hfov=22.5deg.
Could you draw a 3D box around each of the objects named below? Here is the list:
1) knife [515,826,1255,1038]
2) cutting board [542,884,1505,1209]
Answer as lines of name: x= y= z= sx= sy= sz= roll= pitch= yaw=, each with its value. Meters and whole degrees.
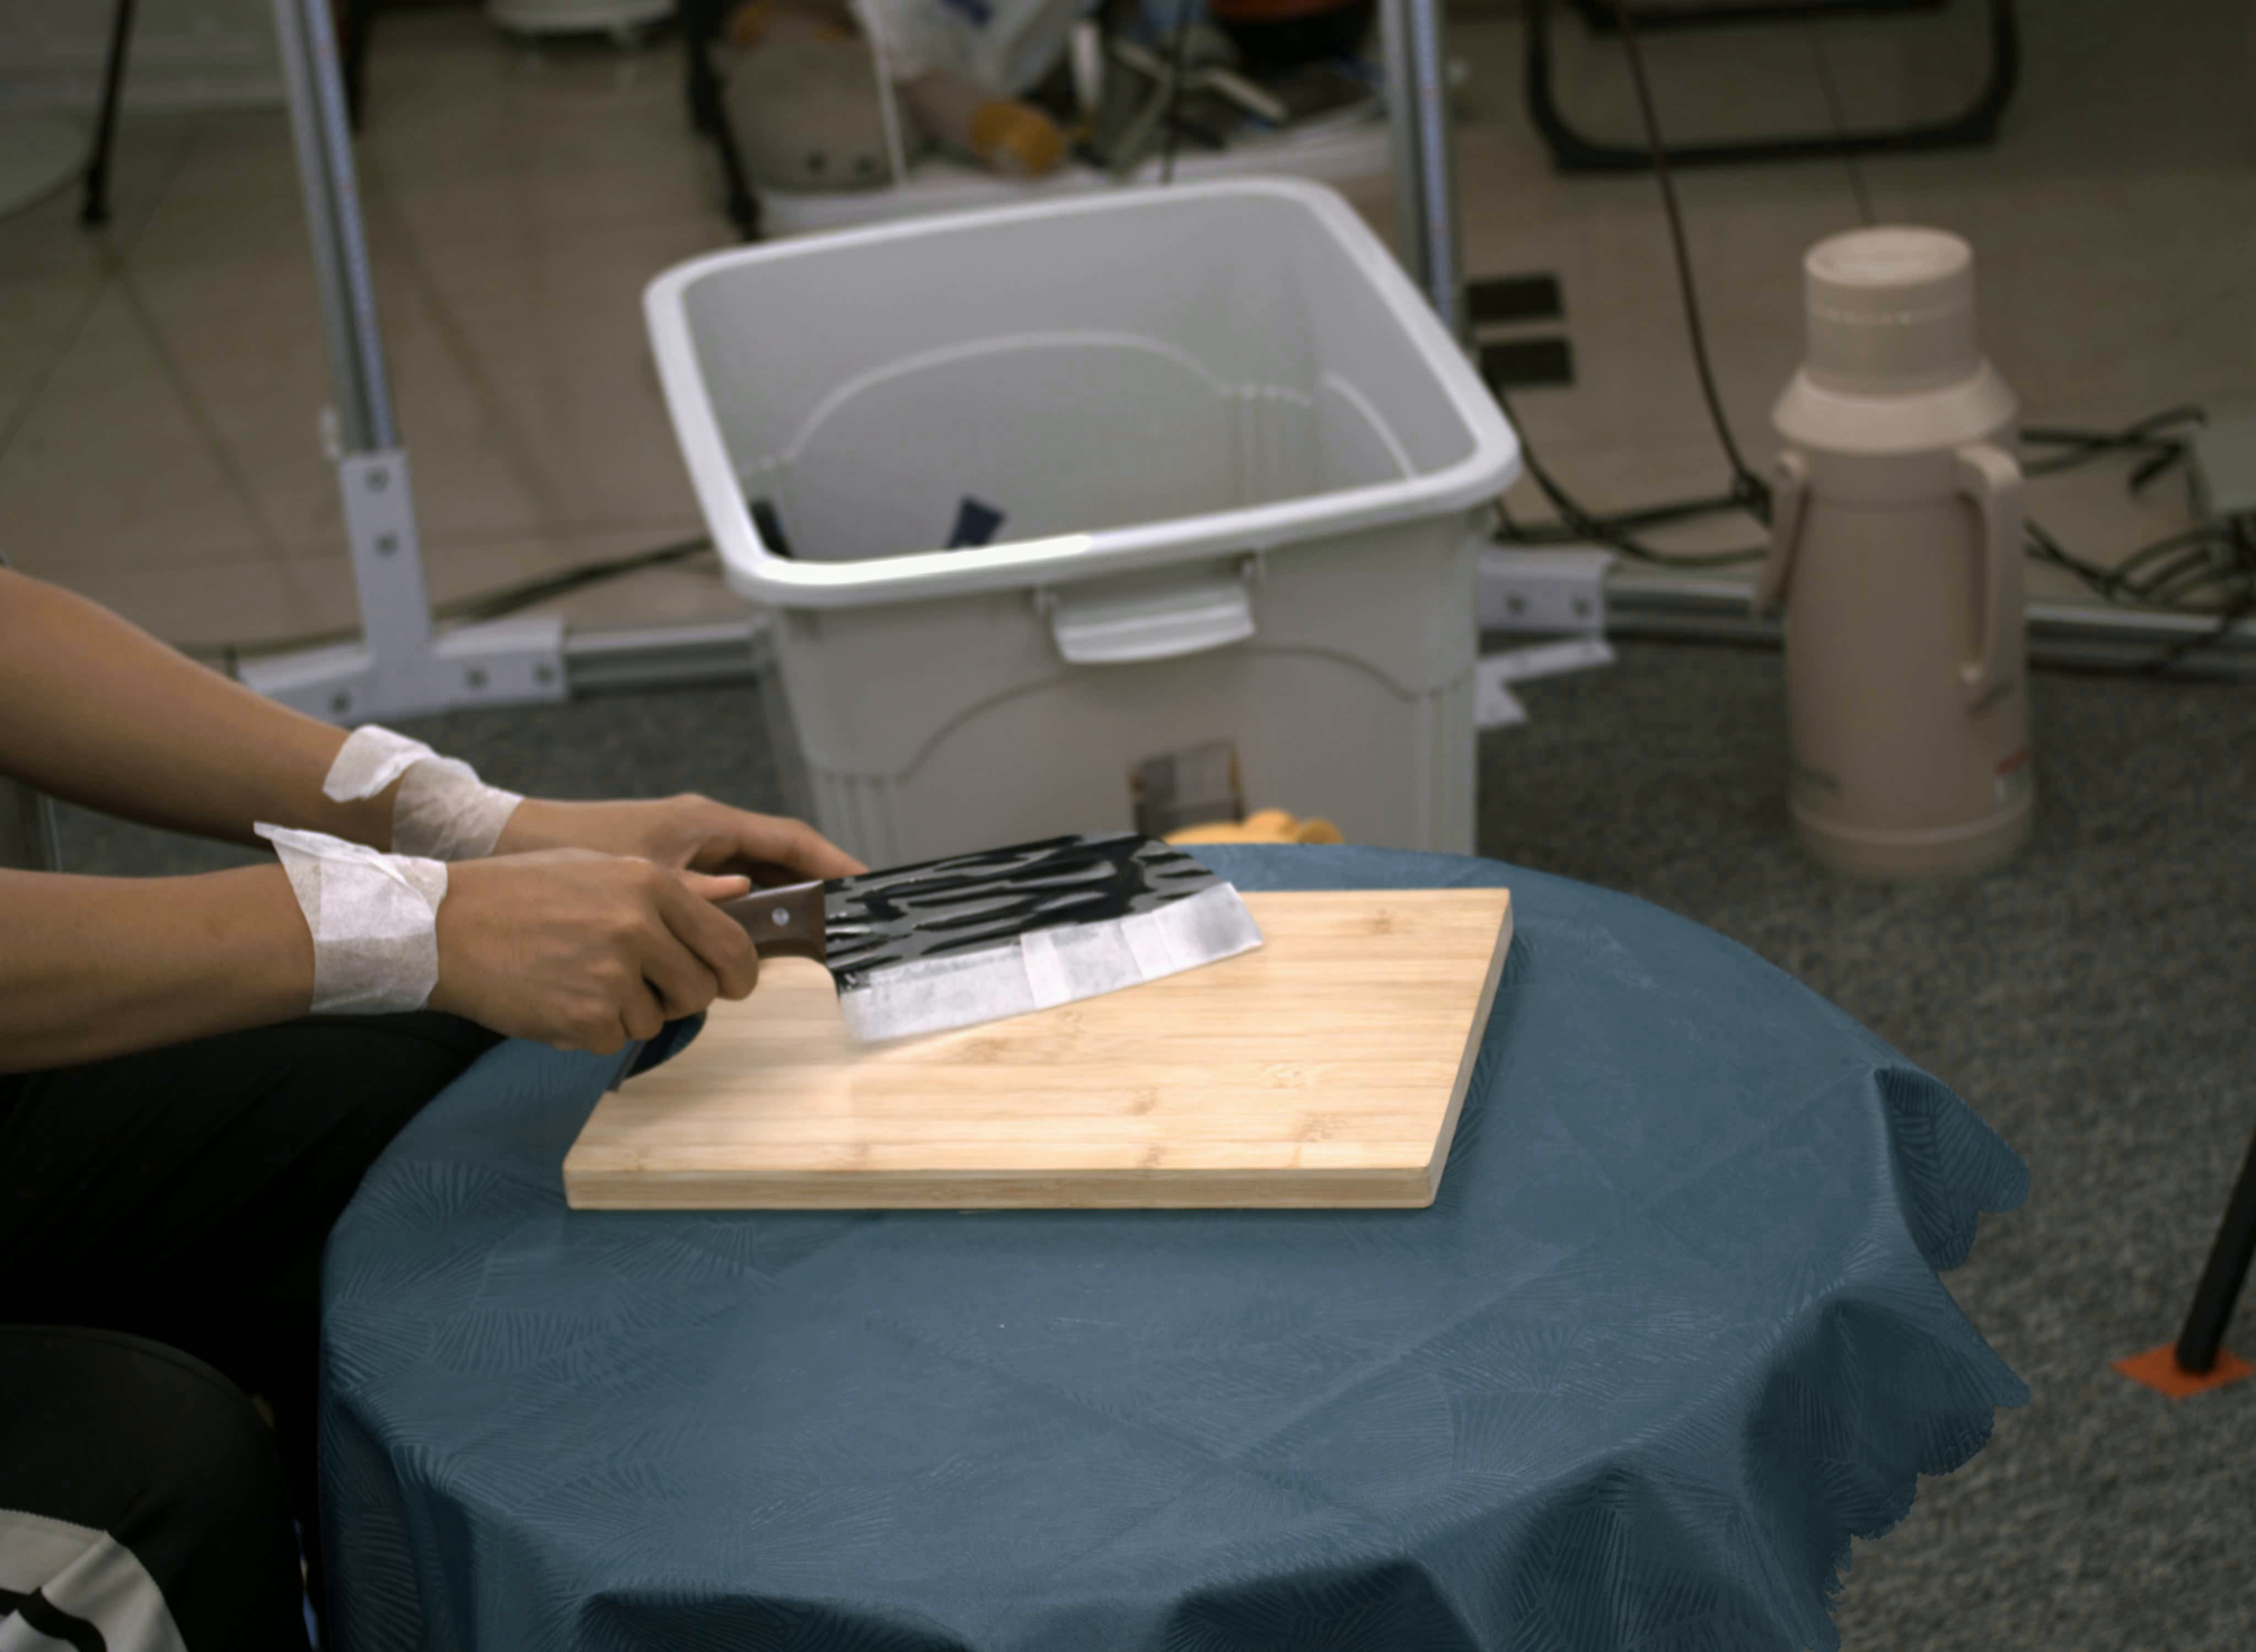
knife: x=-0.093 y=0.047 z=2.246 sx=0.299 sy=0.068 sz=0.024 roll=-9 pitch=-4 yaw=-17
cutting board: x=-0.036 y=0.086 z=2.253 sx=0.348 sy=0.024 sz=0.247 roll=-1 pitch=25 yaw=12
